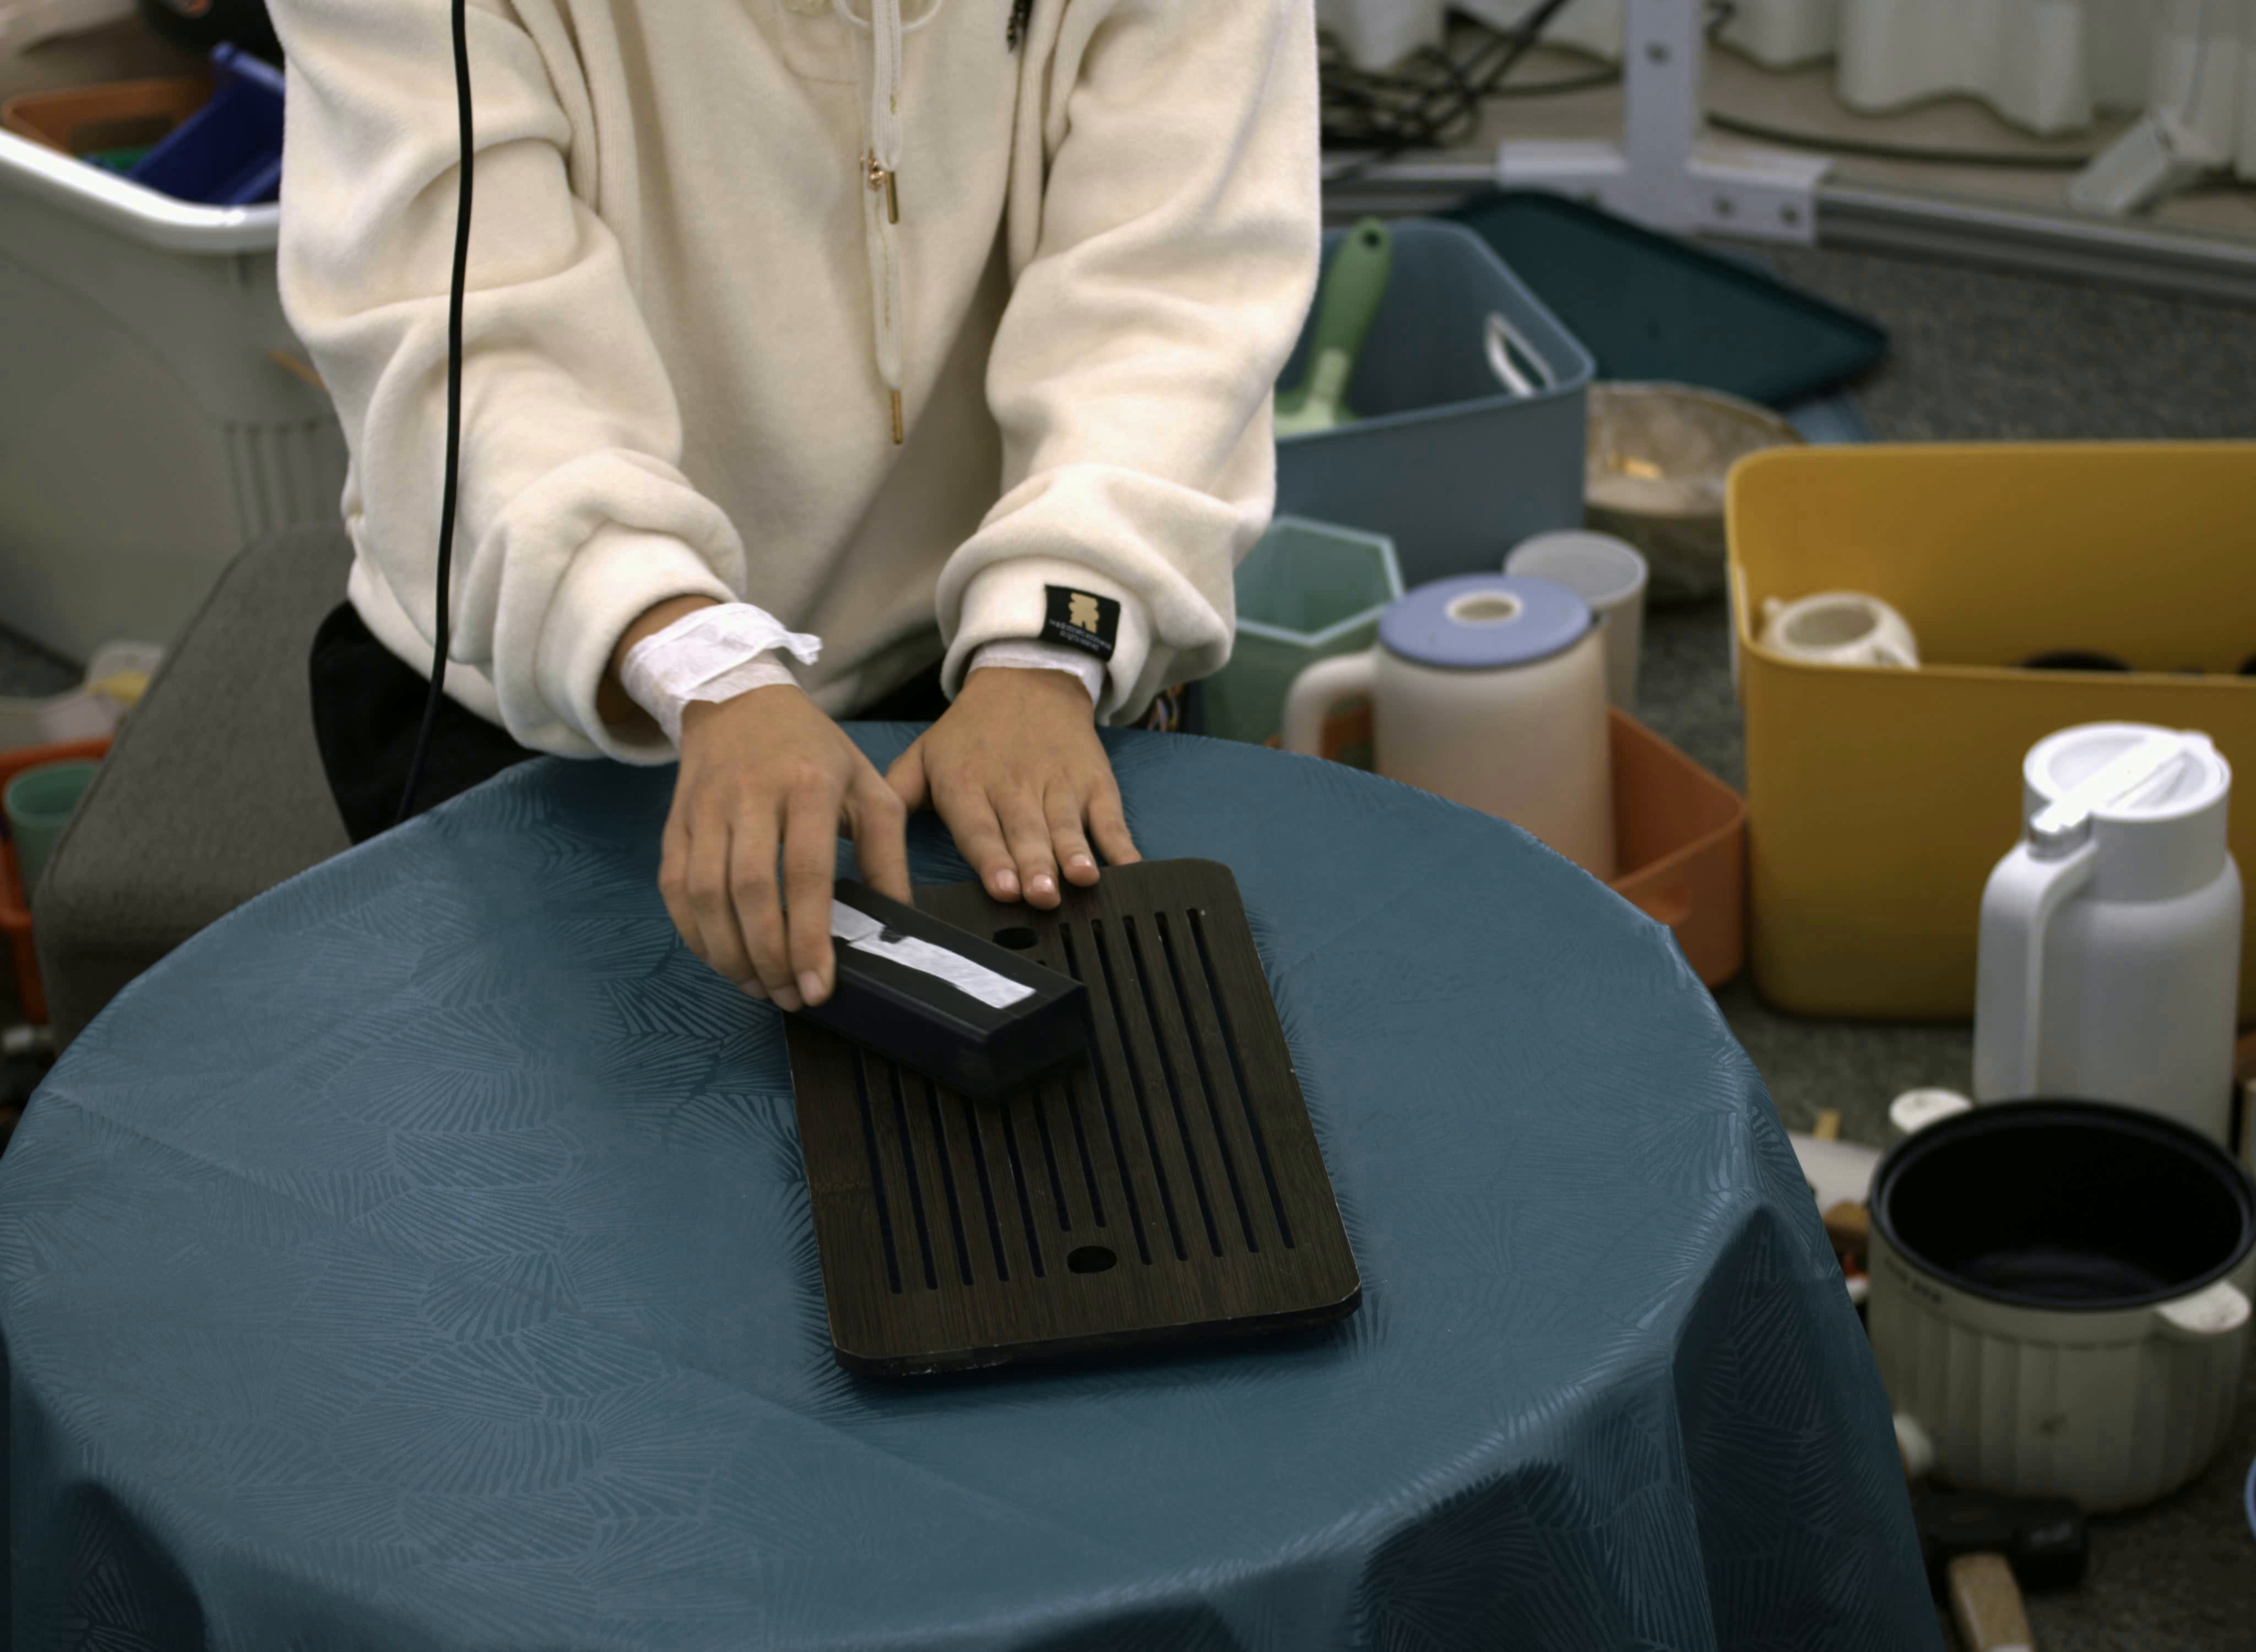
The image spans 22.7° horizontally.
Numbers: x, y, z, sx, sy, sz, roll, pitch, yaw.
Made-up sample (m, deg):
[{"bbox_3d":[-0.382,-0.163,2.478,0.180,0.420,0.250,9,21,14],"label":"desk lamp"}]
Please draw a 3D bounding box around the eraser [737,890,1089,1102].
[{"bbox_3d":[-0.074,0.057,1.929,0.125,0.030,0.054,21,32,41],"label":"eraser"}]

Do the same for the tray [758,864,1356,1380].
[{"bbox_3d":[-0.030,0.097,1.893,0.169,0.018,0.310,-6,28,-6],"label":"tray"}]
